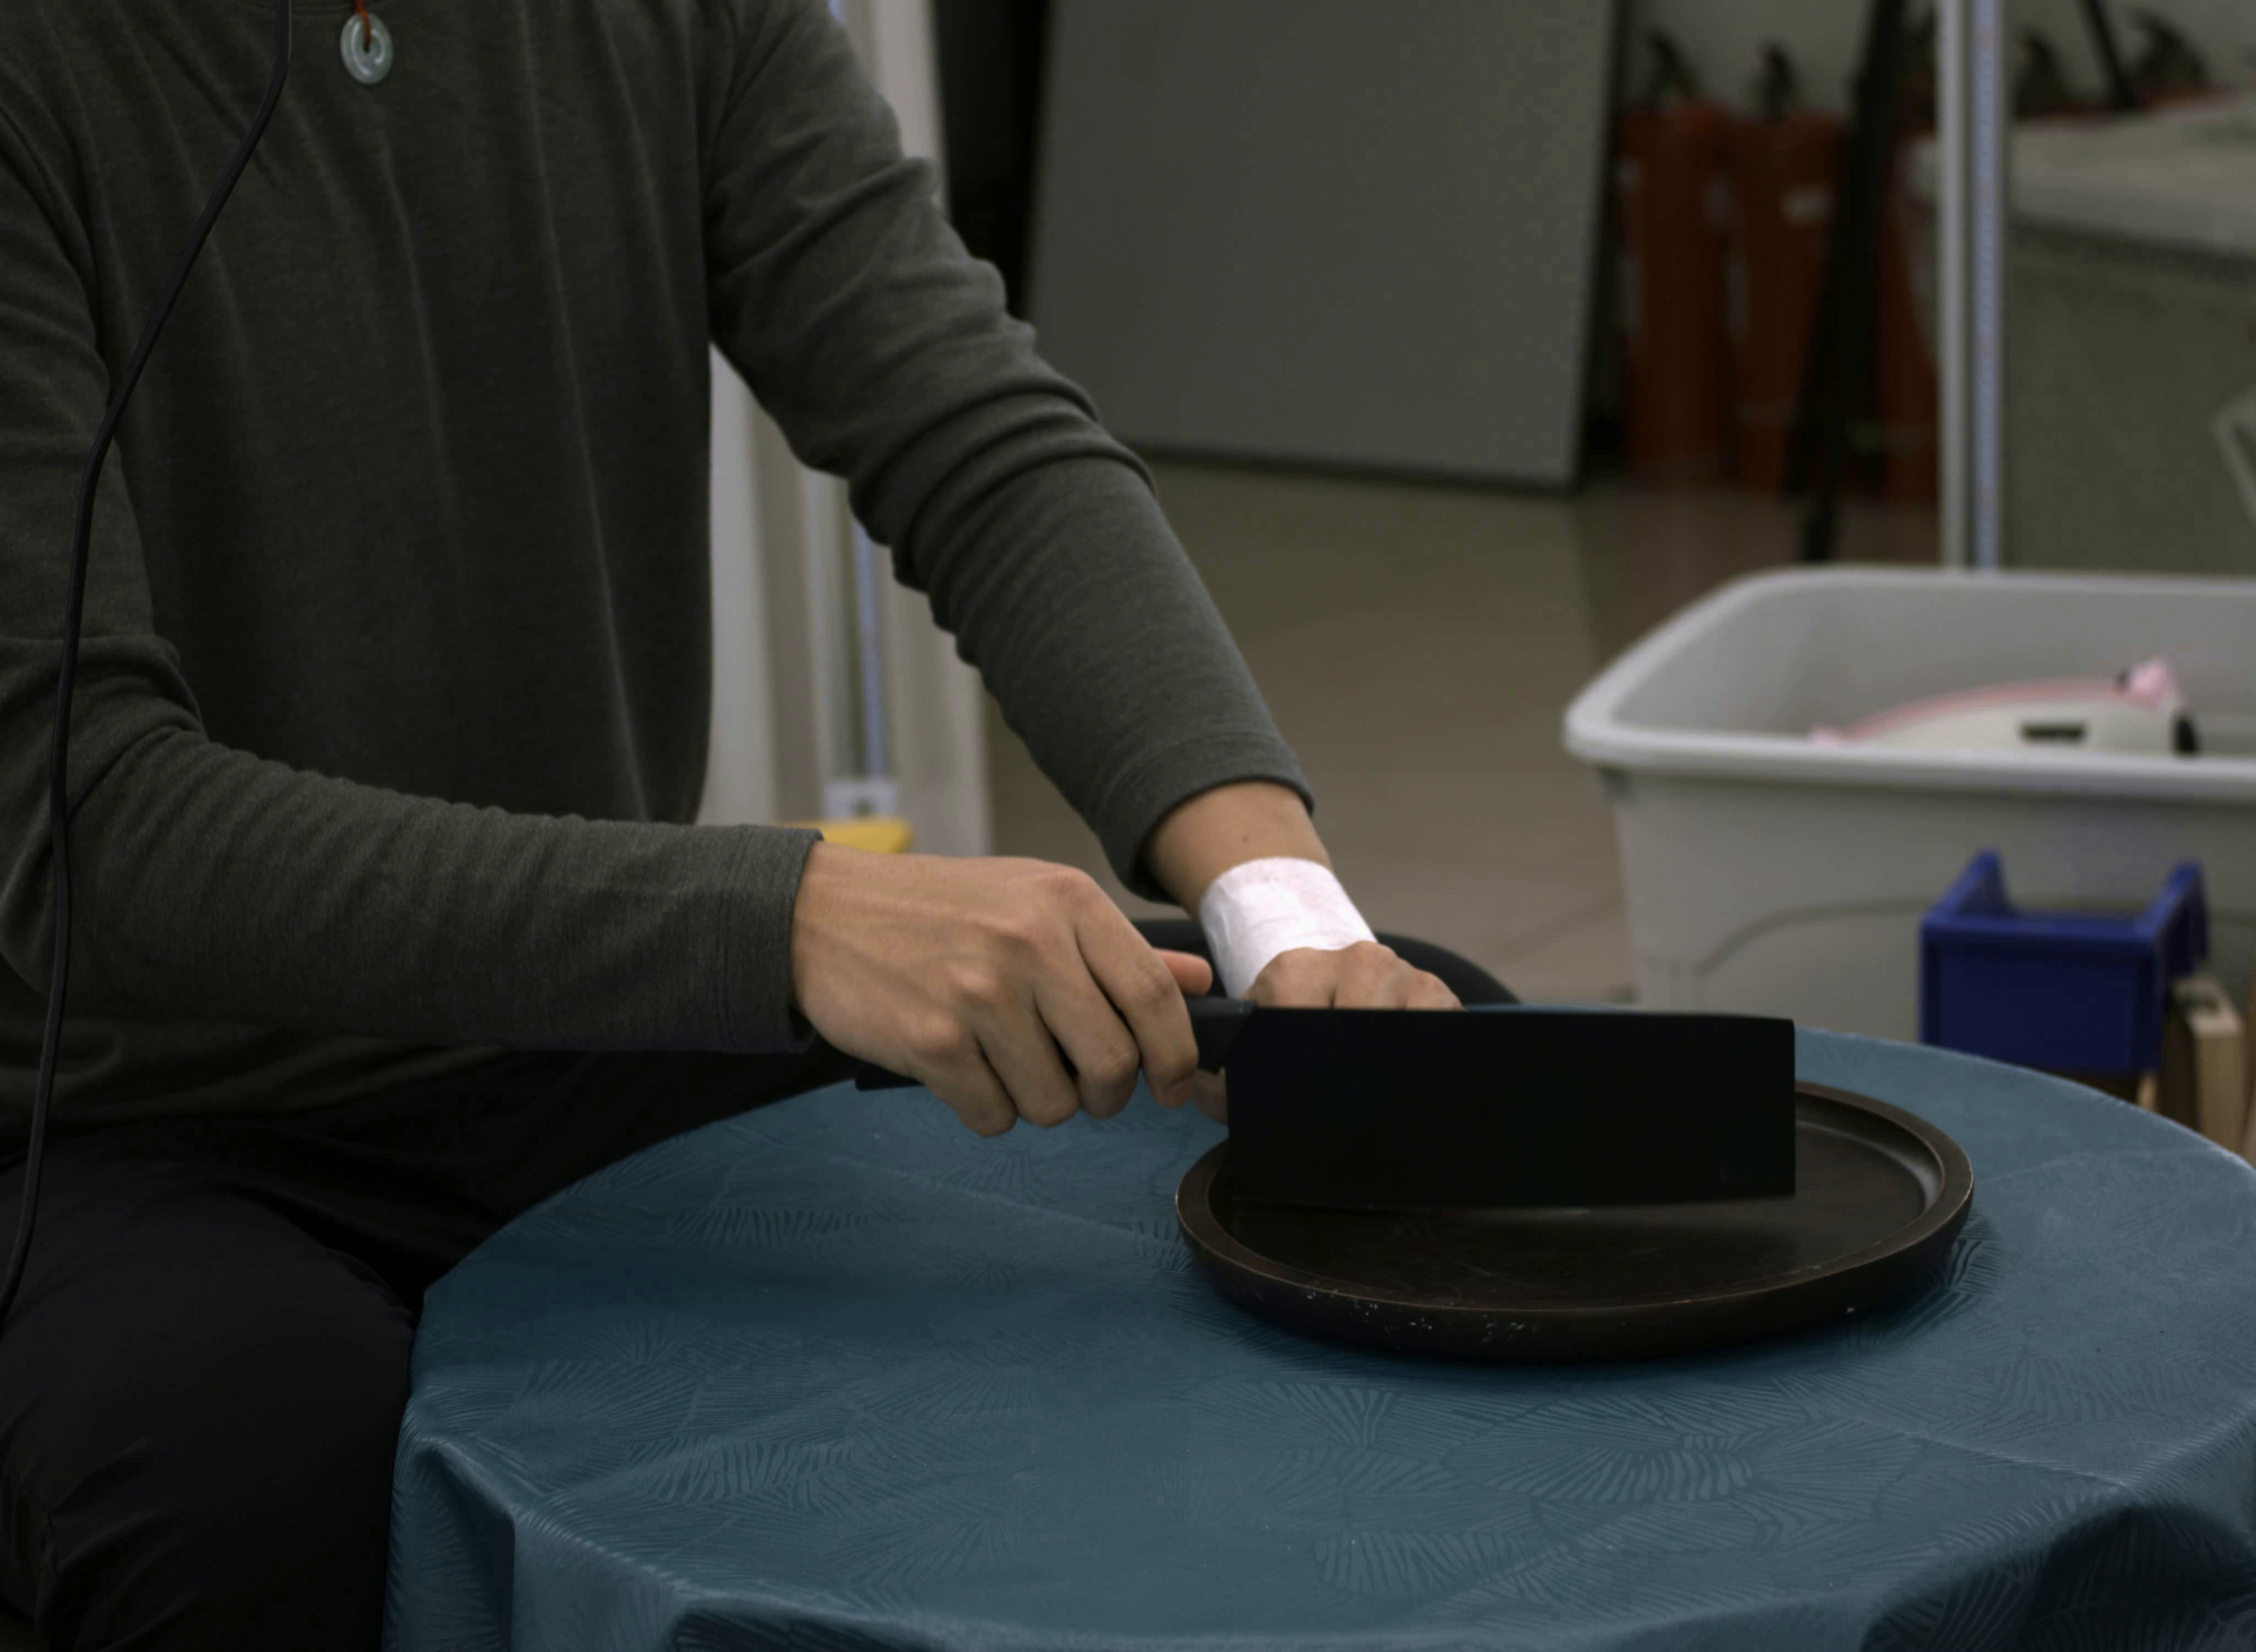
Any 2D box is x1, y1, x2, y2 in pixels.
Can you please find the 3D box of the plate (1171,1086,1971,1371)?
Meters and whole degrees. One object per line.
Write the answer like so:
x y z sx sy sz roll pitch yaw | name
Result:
0.138 0.121 1.688 0.251 0.029 0.255 -5 14 0 | plate

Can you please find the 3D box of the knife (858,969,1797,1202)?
0.061 0.079 1.686 0.300 0.082 0.021 4 15 13 | knife
